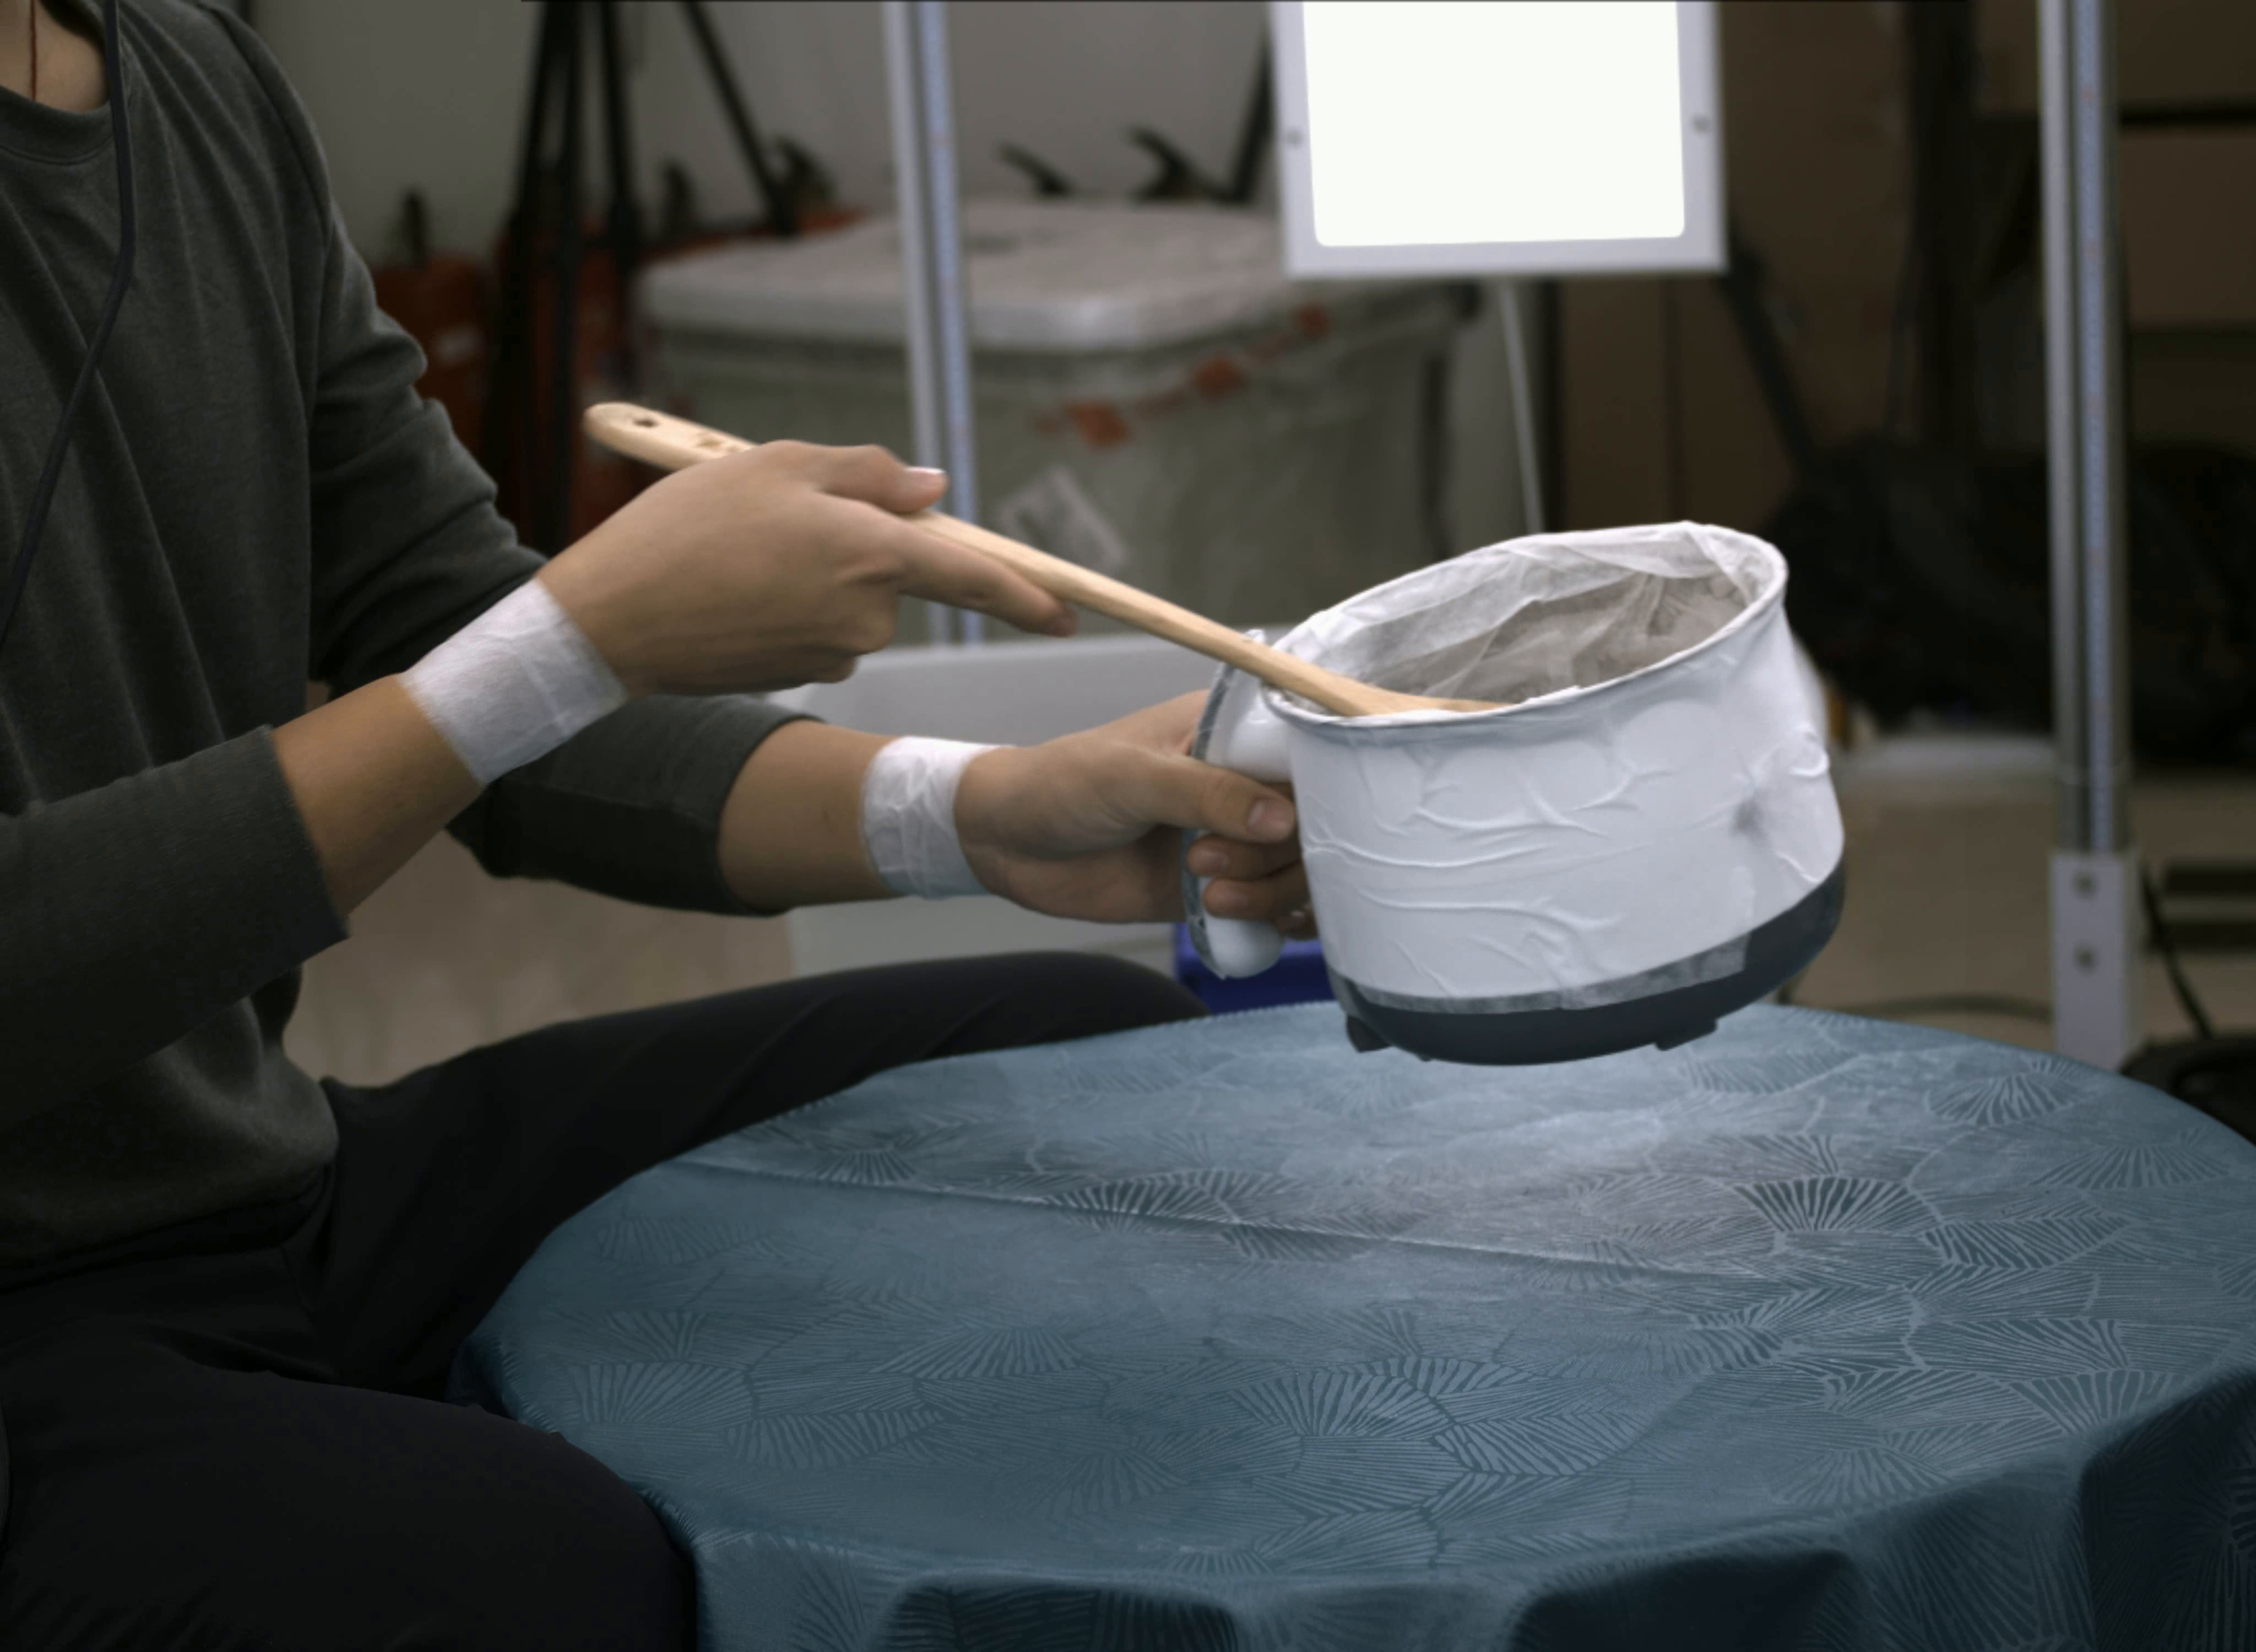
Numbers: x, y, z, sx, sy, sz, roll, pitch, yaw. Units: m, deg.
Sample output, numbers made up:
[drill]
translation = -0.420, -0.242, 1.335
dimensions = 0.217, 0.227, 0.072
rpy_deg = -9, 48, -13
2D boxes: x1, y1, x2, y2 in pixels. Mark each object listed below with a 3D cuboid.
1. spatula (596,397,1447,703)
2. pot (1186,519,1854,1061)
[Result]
[spatula]
translation = 0.011, -0.068, 1.789
dimensions = 0.389, 0.018, 0.095
rpy_deg = 21, 19, -3
[pot]
translation = 0.121, -0.009, 1.820
dimensions = 0.238, 0.137, 0.175
rpy_deg = -4, 20, 28
